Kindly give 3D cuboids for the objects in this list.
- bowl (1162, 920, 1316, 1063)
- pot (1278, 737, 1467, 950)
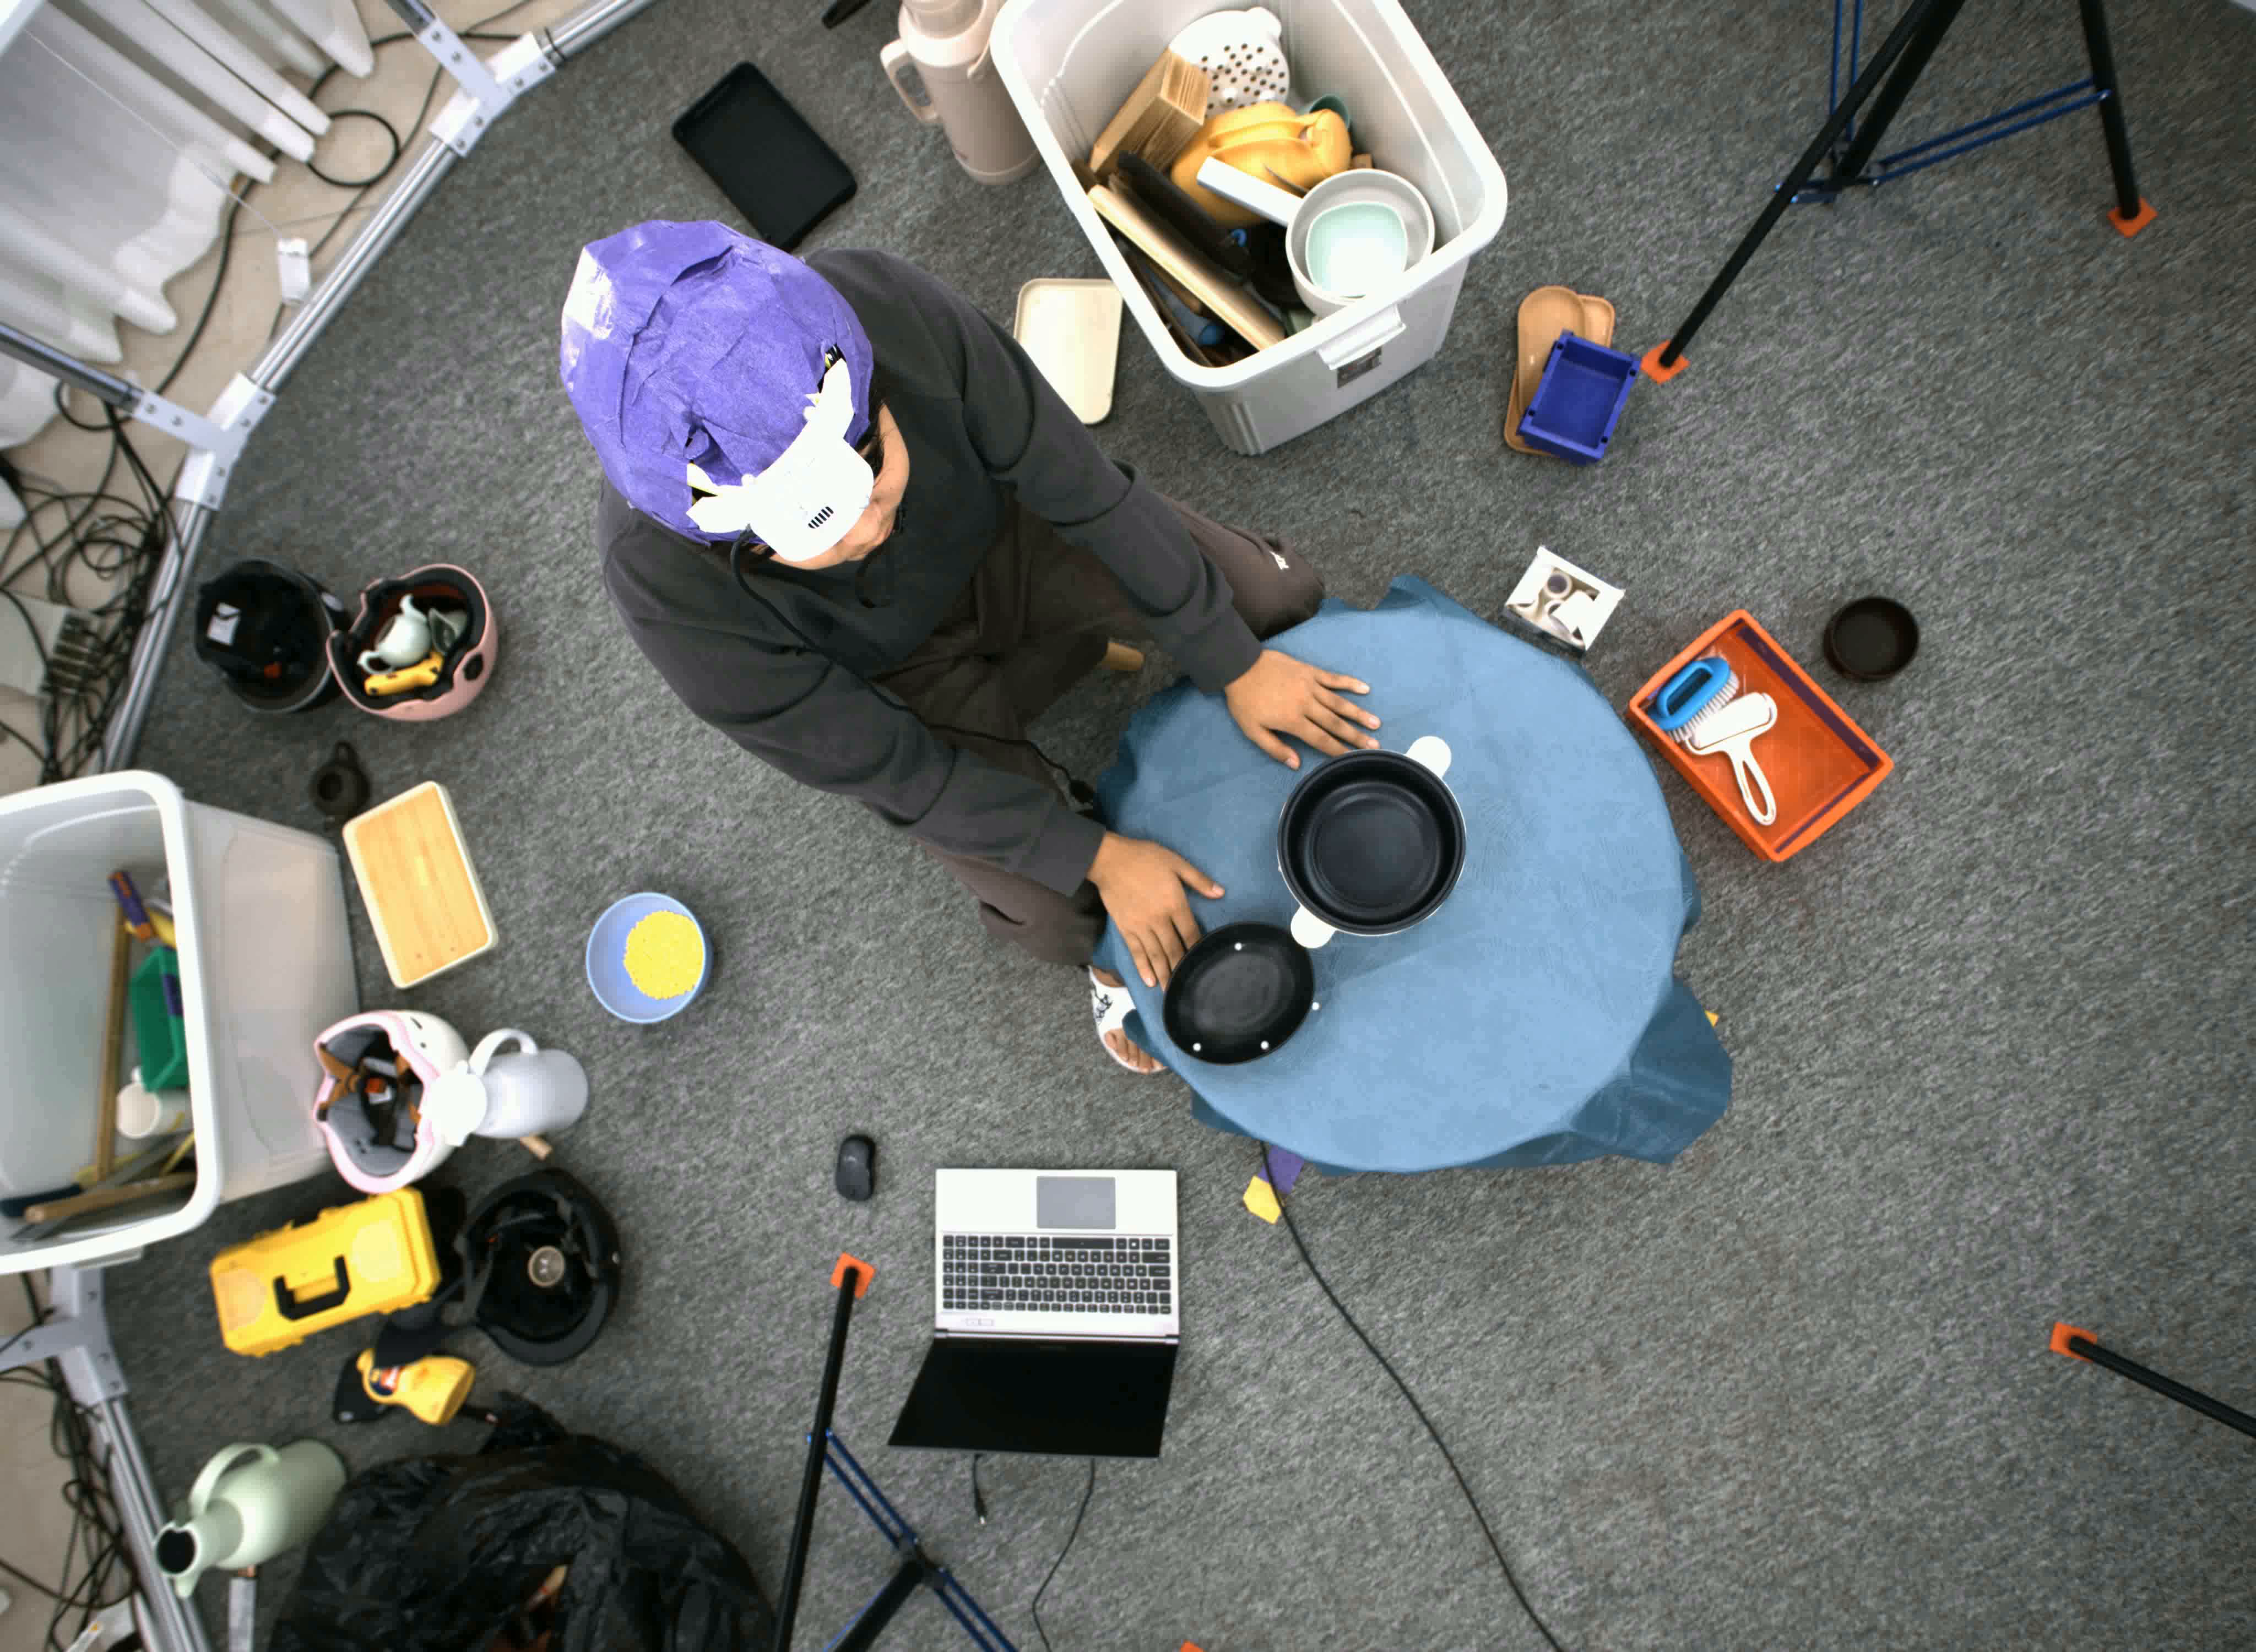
[{"bbox_3d":[0.118,0.174,1.451,0.171,0.066,0.136,-37,80,8],"label":"bowl"},{"bbox_3d":[0.241,0.020,1.400,0.190,0.143,0.240,34,91,8],"label":"pot"}]
